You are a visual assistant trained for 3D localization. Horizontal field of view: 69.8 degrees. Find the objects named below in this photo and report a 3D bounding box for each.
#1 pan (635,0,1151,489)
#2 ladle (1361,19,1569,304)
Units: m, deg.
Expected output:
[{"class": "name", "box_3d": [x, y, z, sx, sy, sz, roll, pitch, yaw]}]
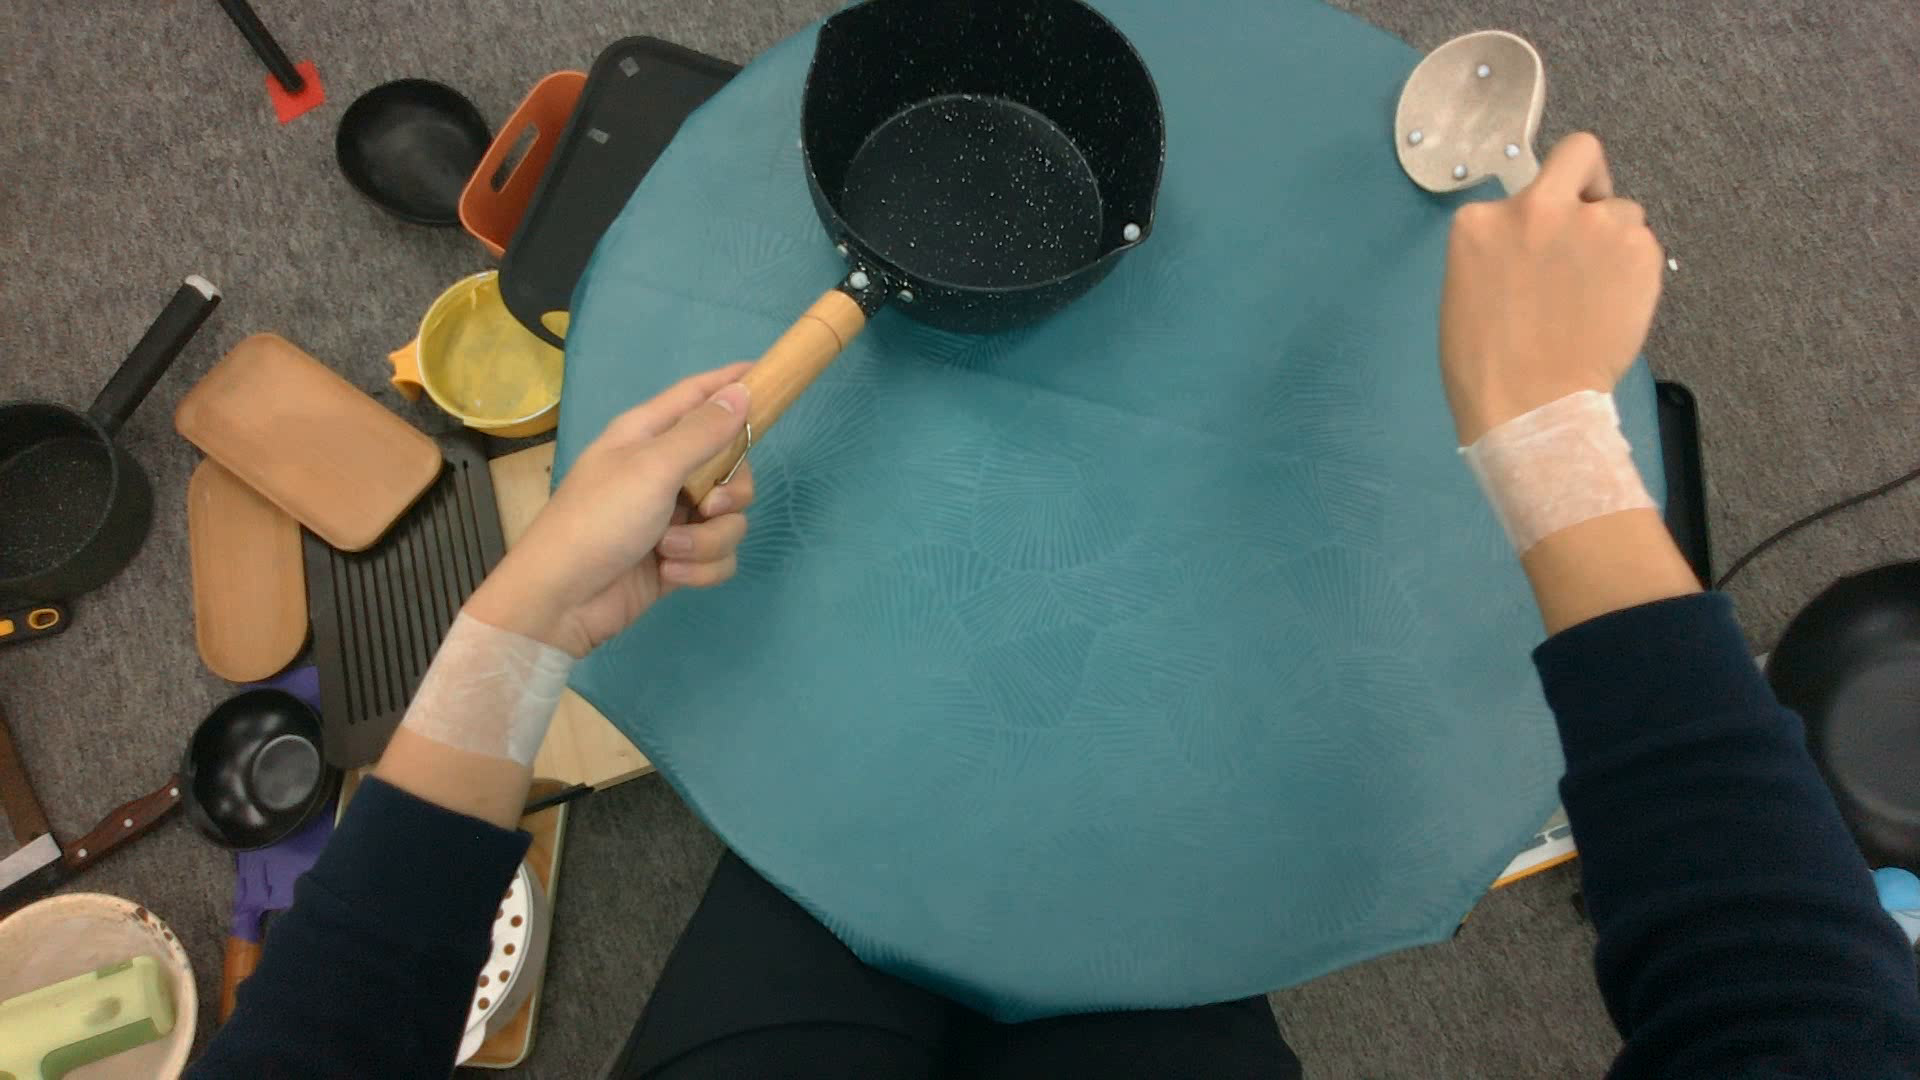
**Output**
[{"class": "pan", "box_3d": [-0.041, -0.145, 0.696, 0.207, 0.108, 0.344, 33, 72, 5]}, {"class": "ladle", "box_3d": [0.242, -0.187, 0.674, 0.069, 0.089, 0.276, 32, 32, -8]}]
